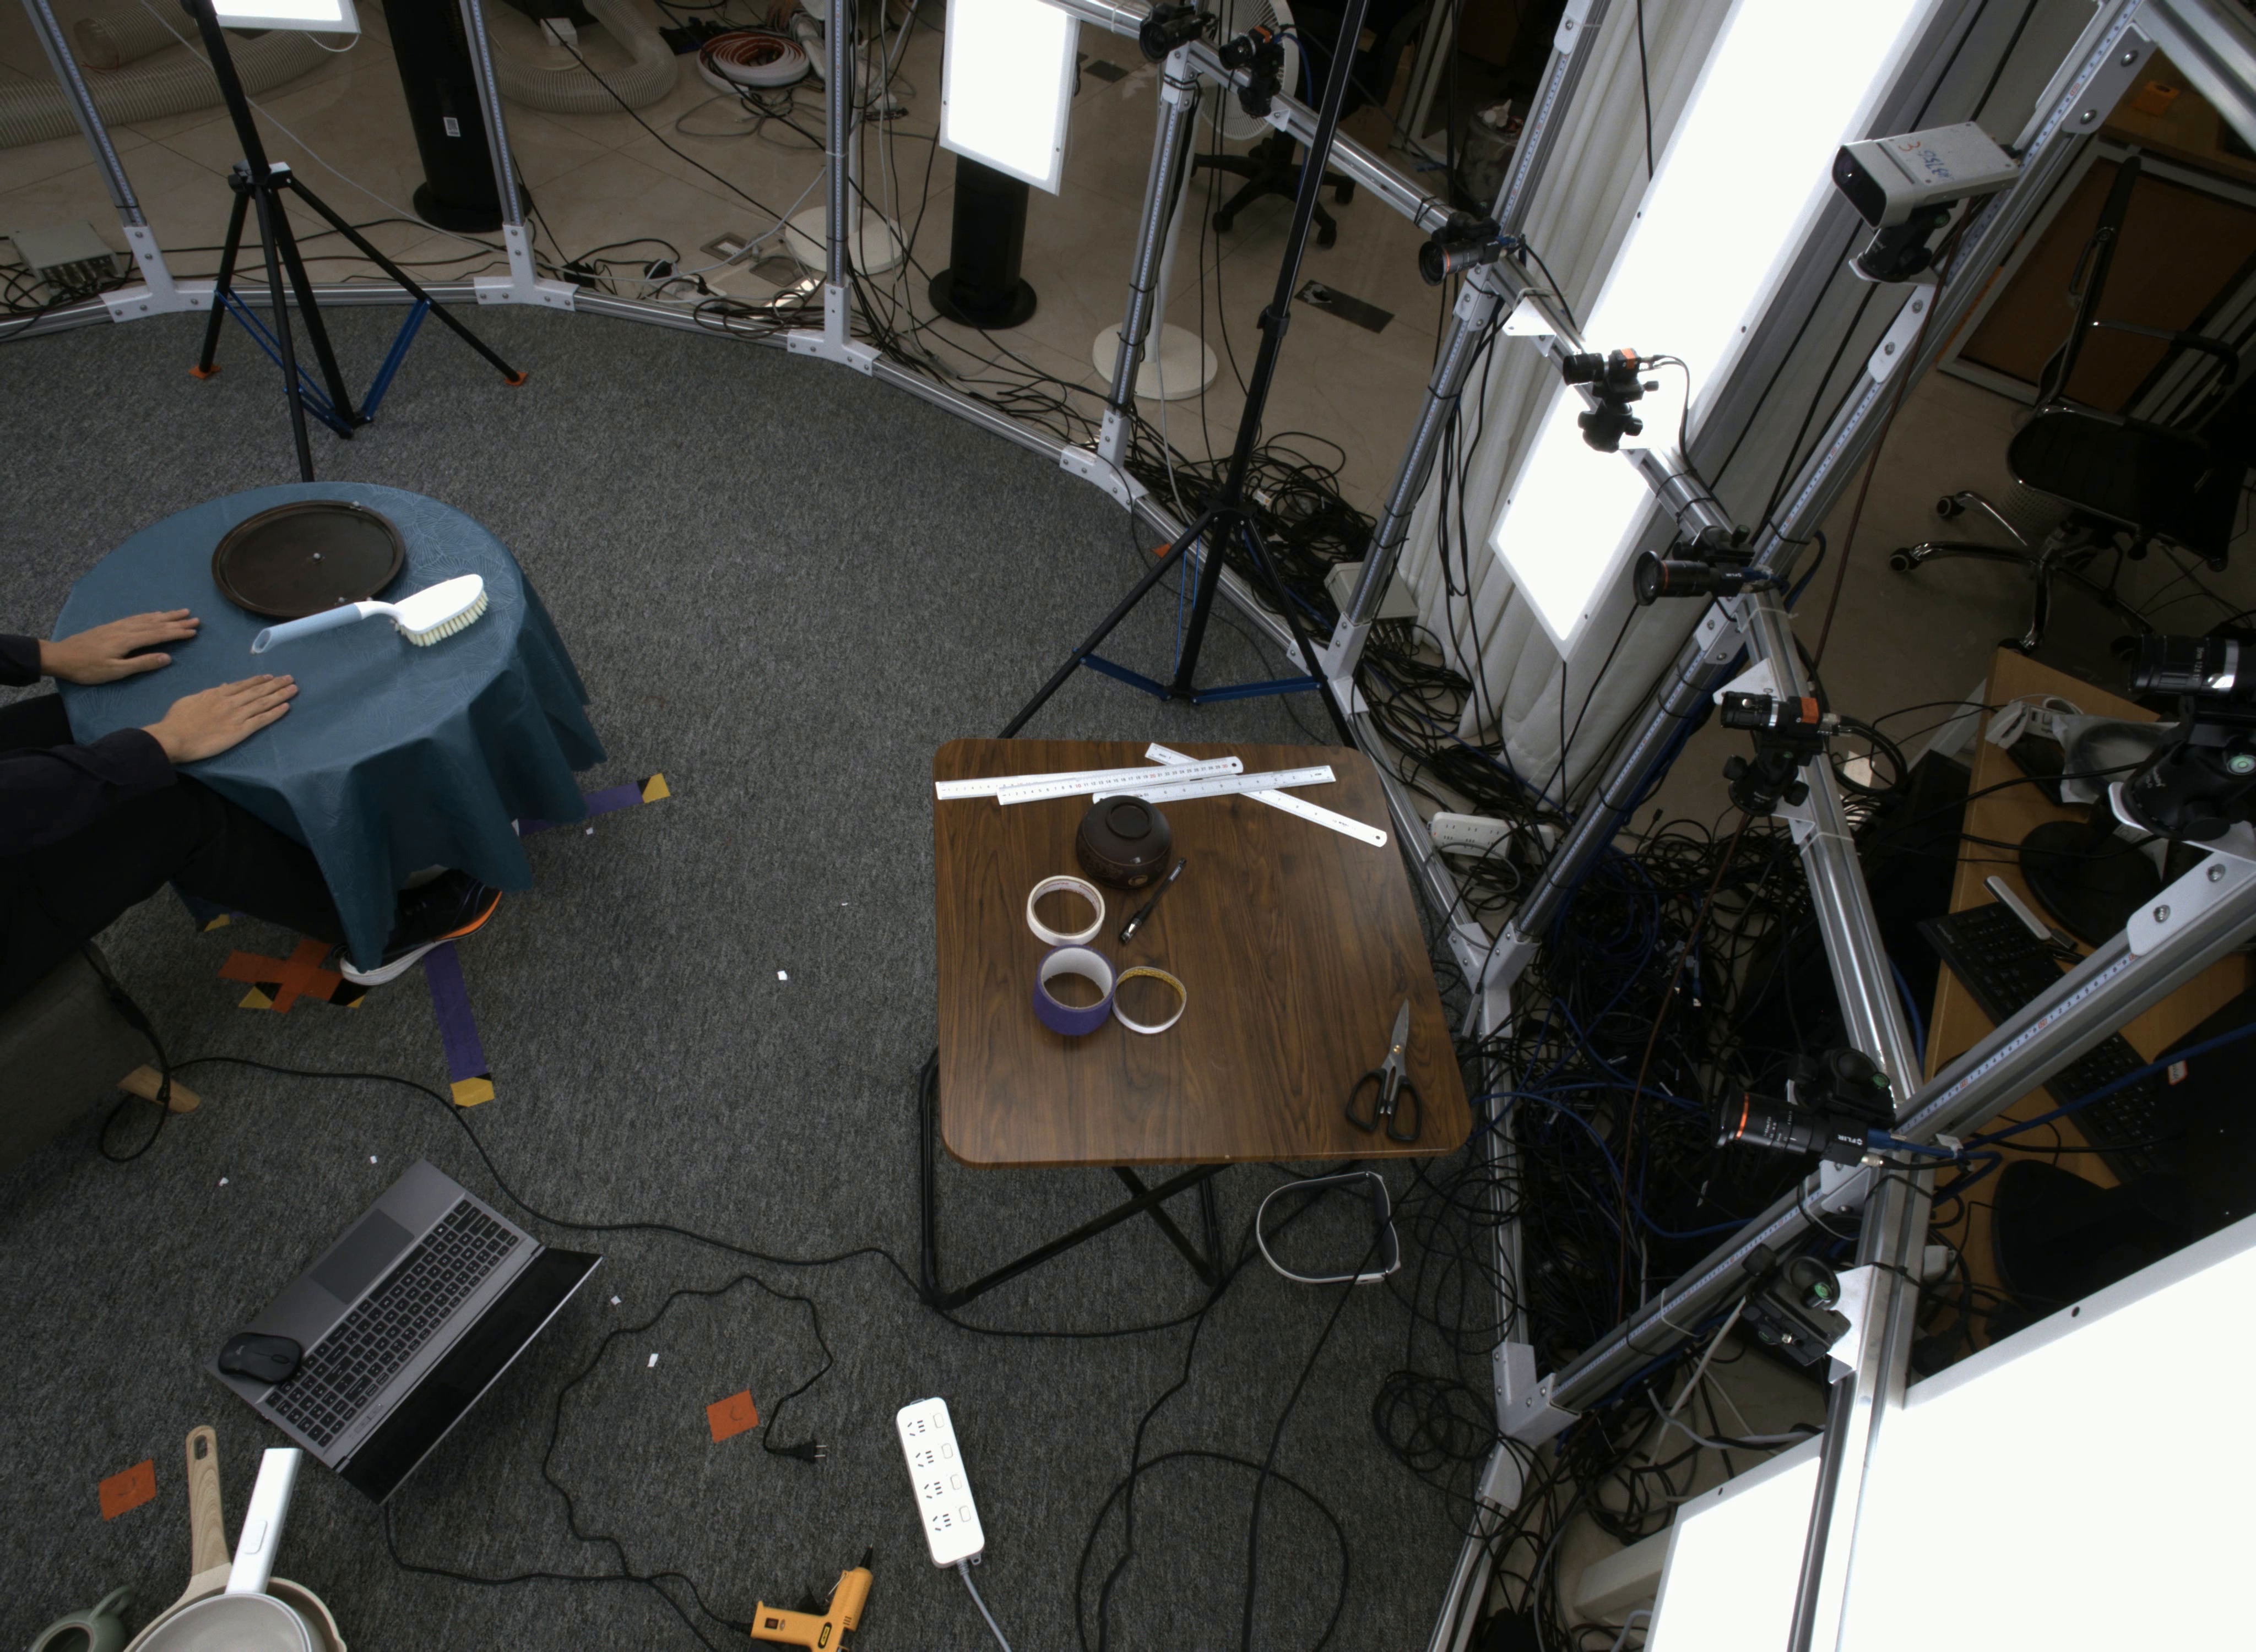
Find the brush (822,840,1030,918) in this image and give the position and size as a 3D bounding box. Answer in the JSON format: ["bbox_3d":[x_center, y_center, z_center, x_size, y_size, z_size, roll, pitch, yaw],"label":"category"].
[{"bbox_3d":[-0.303,0.090,1.956,0.330,0.084,0.082,10,-17,-25],"label":"brush"}]

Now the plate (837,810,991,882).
[{"bbox_3d":[-0.353,0.029,2.154,0.253,0.030,0.250,8,25,-2],"label":"plate"}]
